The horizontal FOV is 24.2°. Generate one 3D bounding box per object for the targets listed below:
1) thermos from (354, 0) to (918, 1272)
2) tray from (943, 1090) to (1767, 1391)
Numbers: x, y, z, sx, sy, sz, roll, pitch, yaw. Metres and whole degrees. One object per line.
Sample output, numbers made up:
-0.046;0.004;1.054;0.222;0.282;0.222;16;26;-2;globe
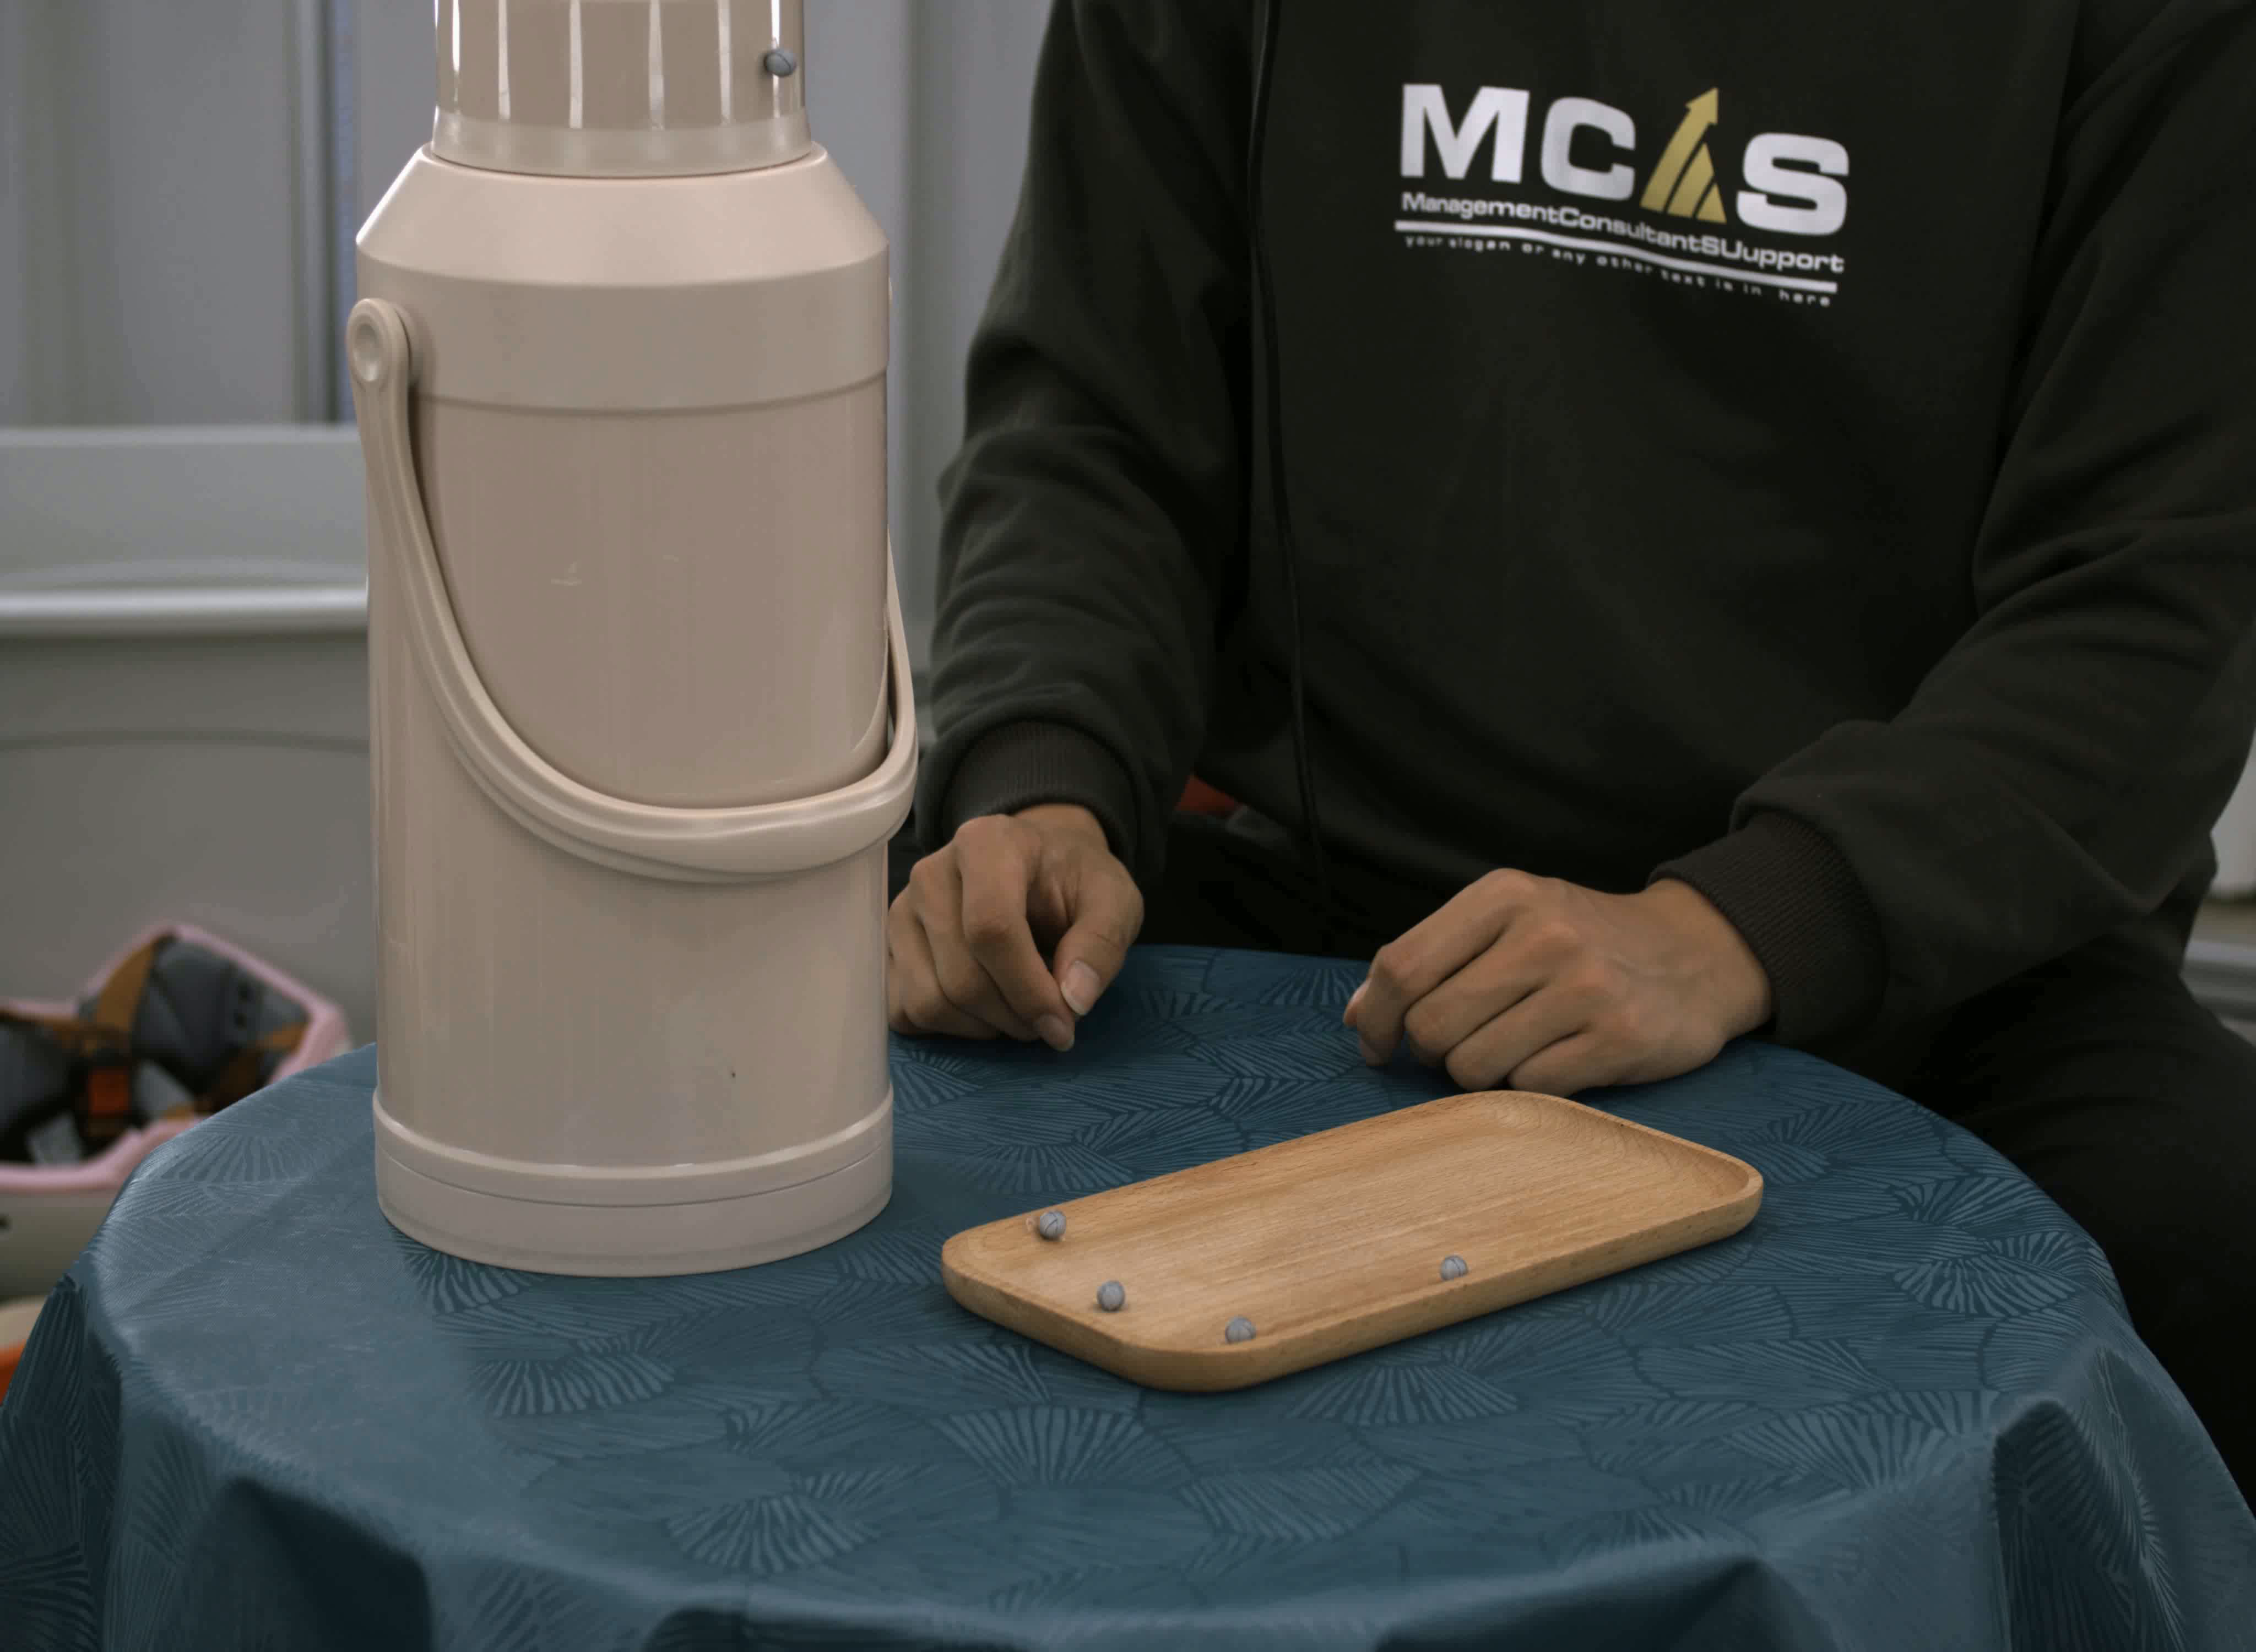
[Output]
-0.155;-0.083;1.580;0.176;0.410;0.204;-14;22;-37;thermos
0.070;0.121;1.572;0.252;0.023;0.129;-11;22;-39;tray
